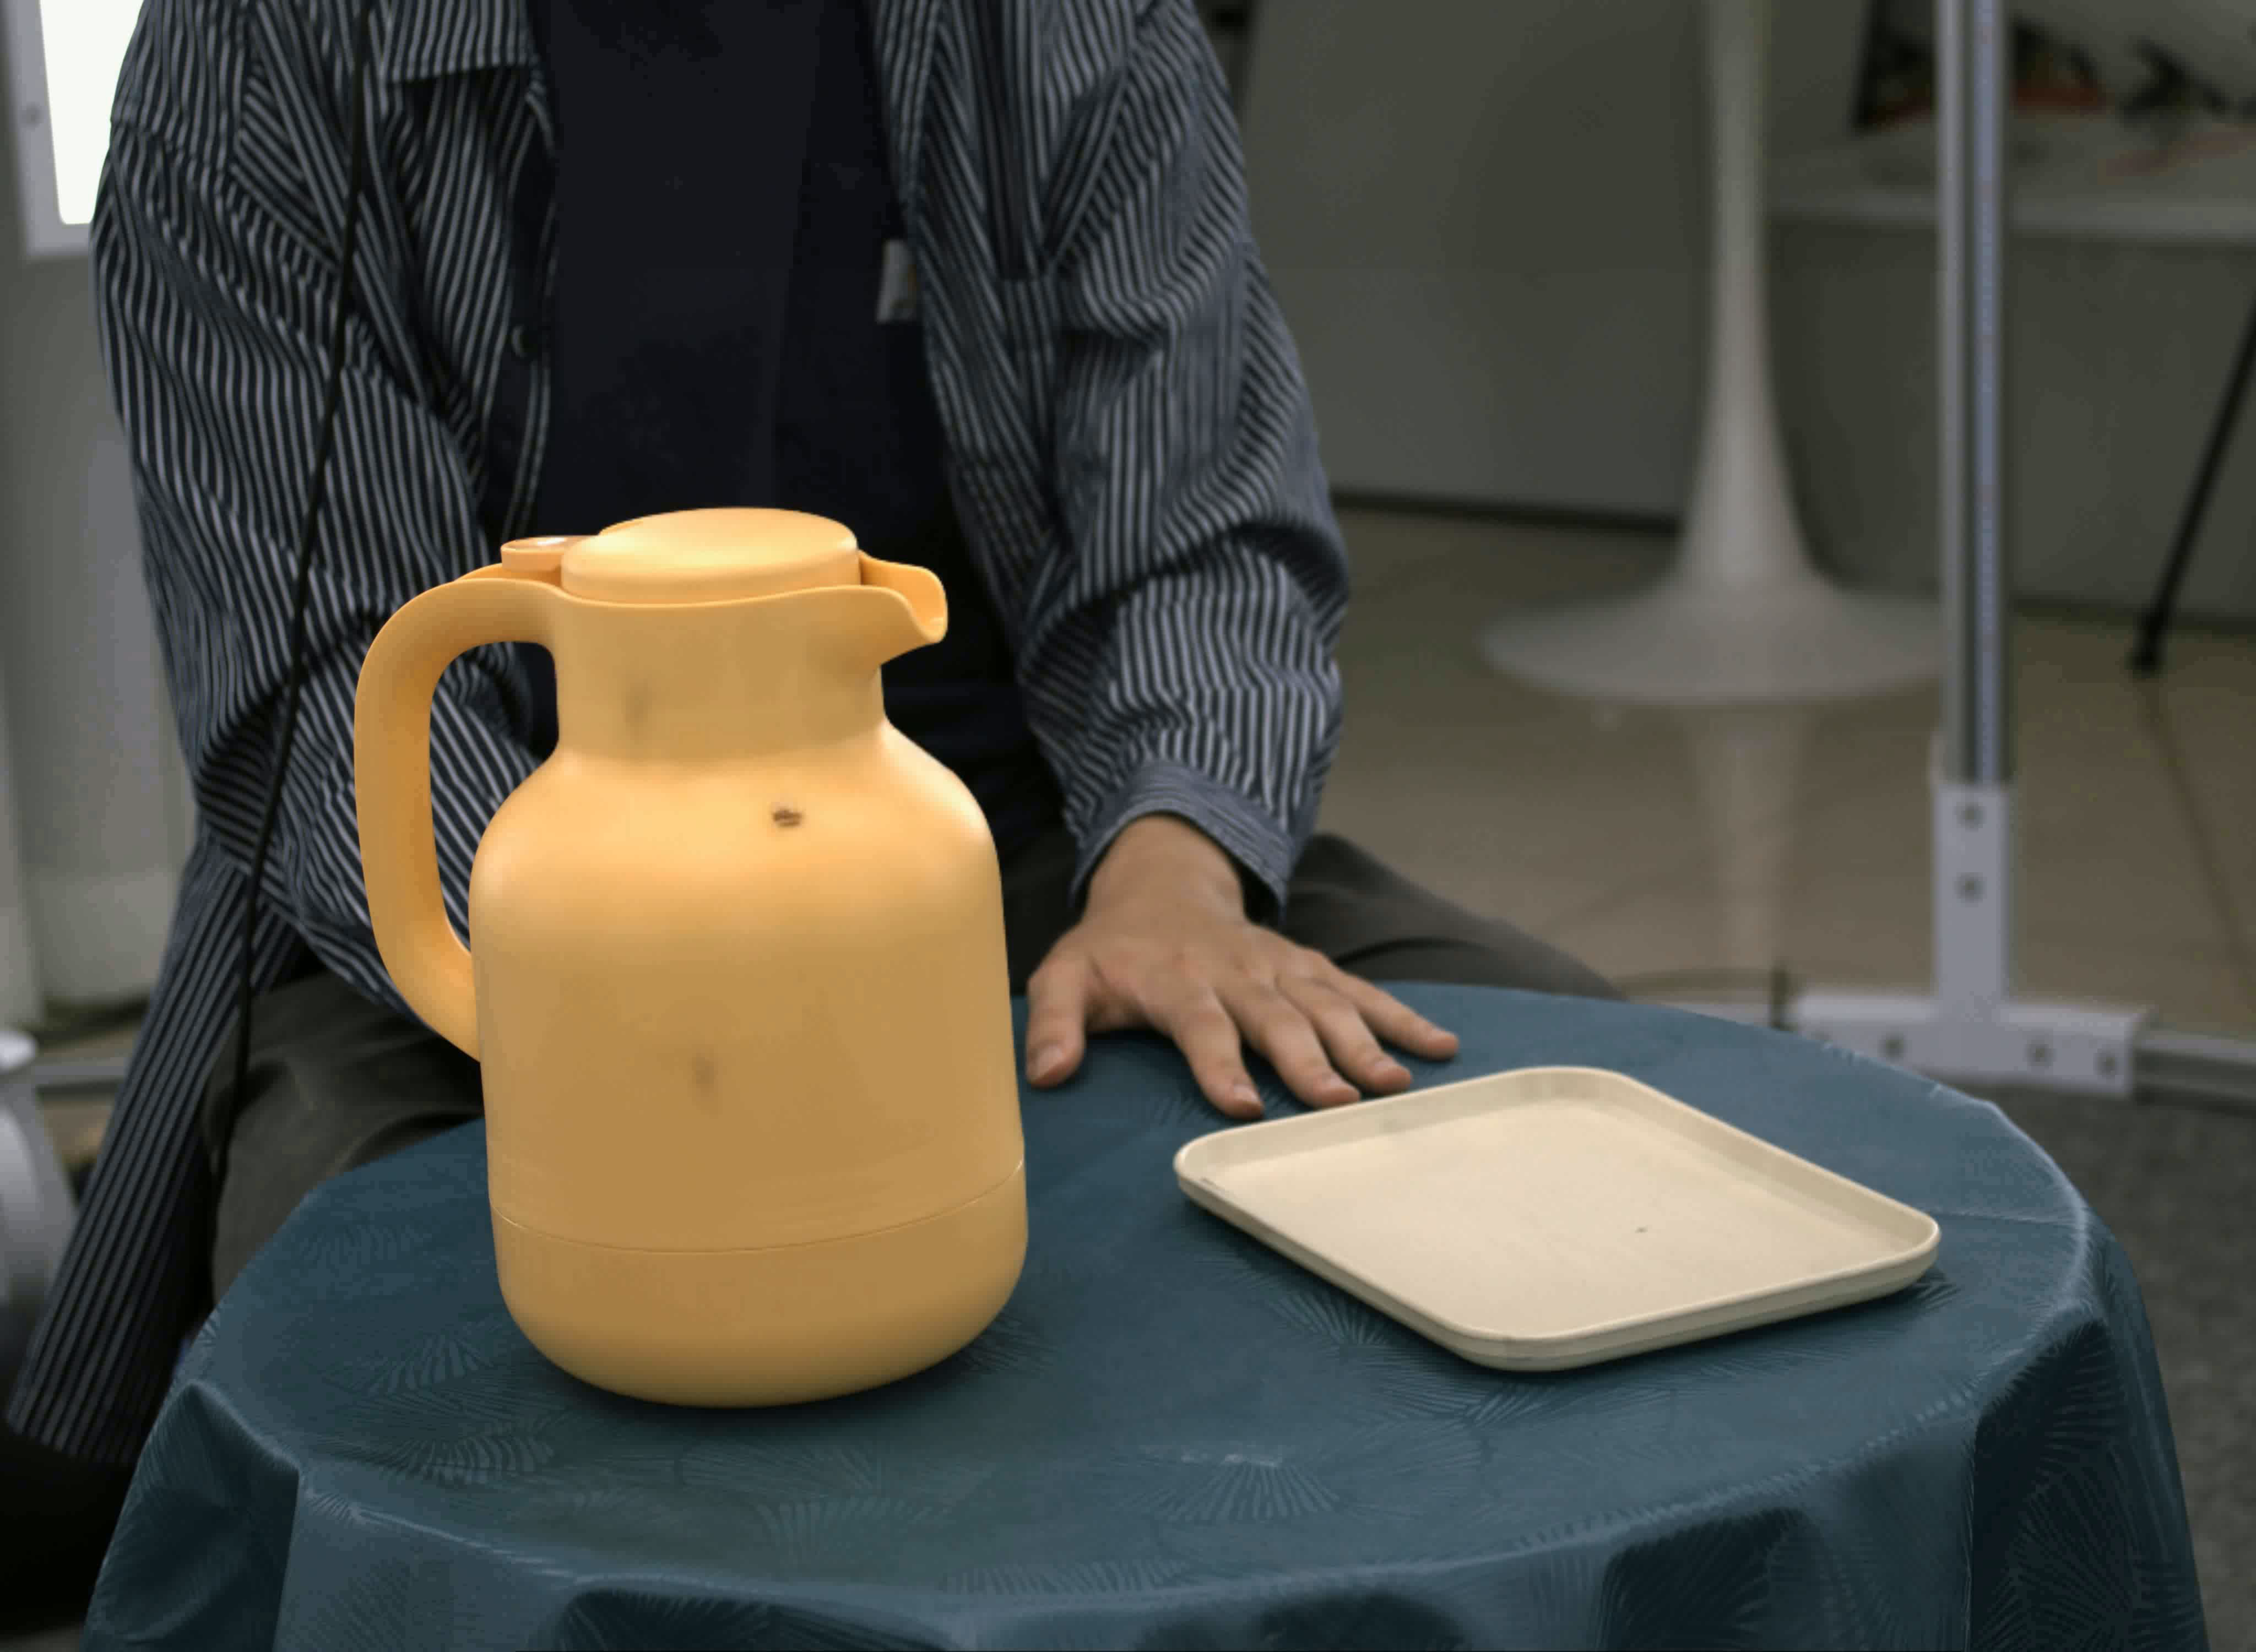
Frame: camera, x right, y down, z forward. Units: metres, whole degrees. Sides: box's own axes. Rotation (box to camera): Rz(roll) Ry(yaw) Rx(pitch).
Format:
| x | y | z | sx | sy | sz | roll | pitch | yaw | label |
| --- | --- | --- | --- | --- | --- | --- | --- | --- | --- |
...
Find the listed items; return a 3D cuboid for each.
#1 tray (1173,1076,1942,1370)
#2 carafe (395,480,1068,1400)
| x | y | z | sx | sy | sz | roll | pitch | yaw | label |
| --- | --- | --- | --- | --- | --- | --- | --- | --- | --- |
| 0.131 | 0.123 | 1.687 | 0.167 | 0.017 | 0.242 | -9 | 14 | -23 | tray |
| -0.120 | 0.029 | 1.626 | 0.202 | 0.263 | 0.162 | 2 | 13 | 21 | carafe |
